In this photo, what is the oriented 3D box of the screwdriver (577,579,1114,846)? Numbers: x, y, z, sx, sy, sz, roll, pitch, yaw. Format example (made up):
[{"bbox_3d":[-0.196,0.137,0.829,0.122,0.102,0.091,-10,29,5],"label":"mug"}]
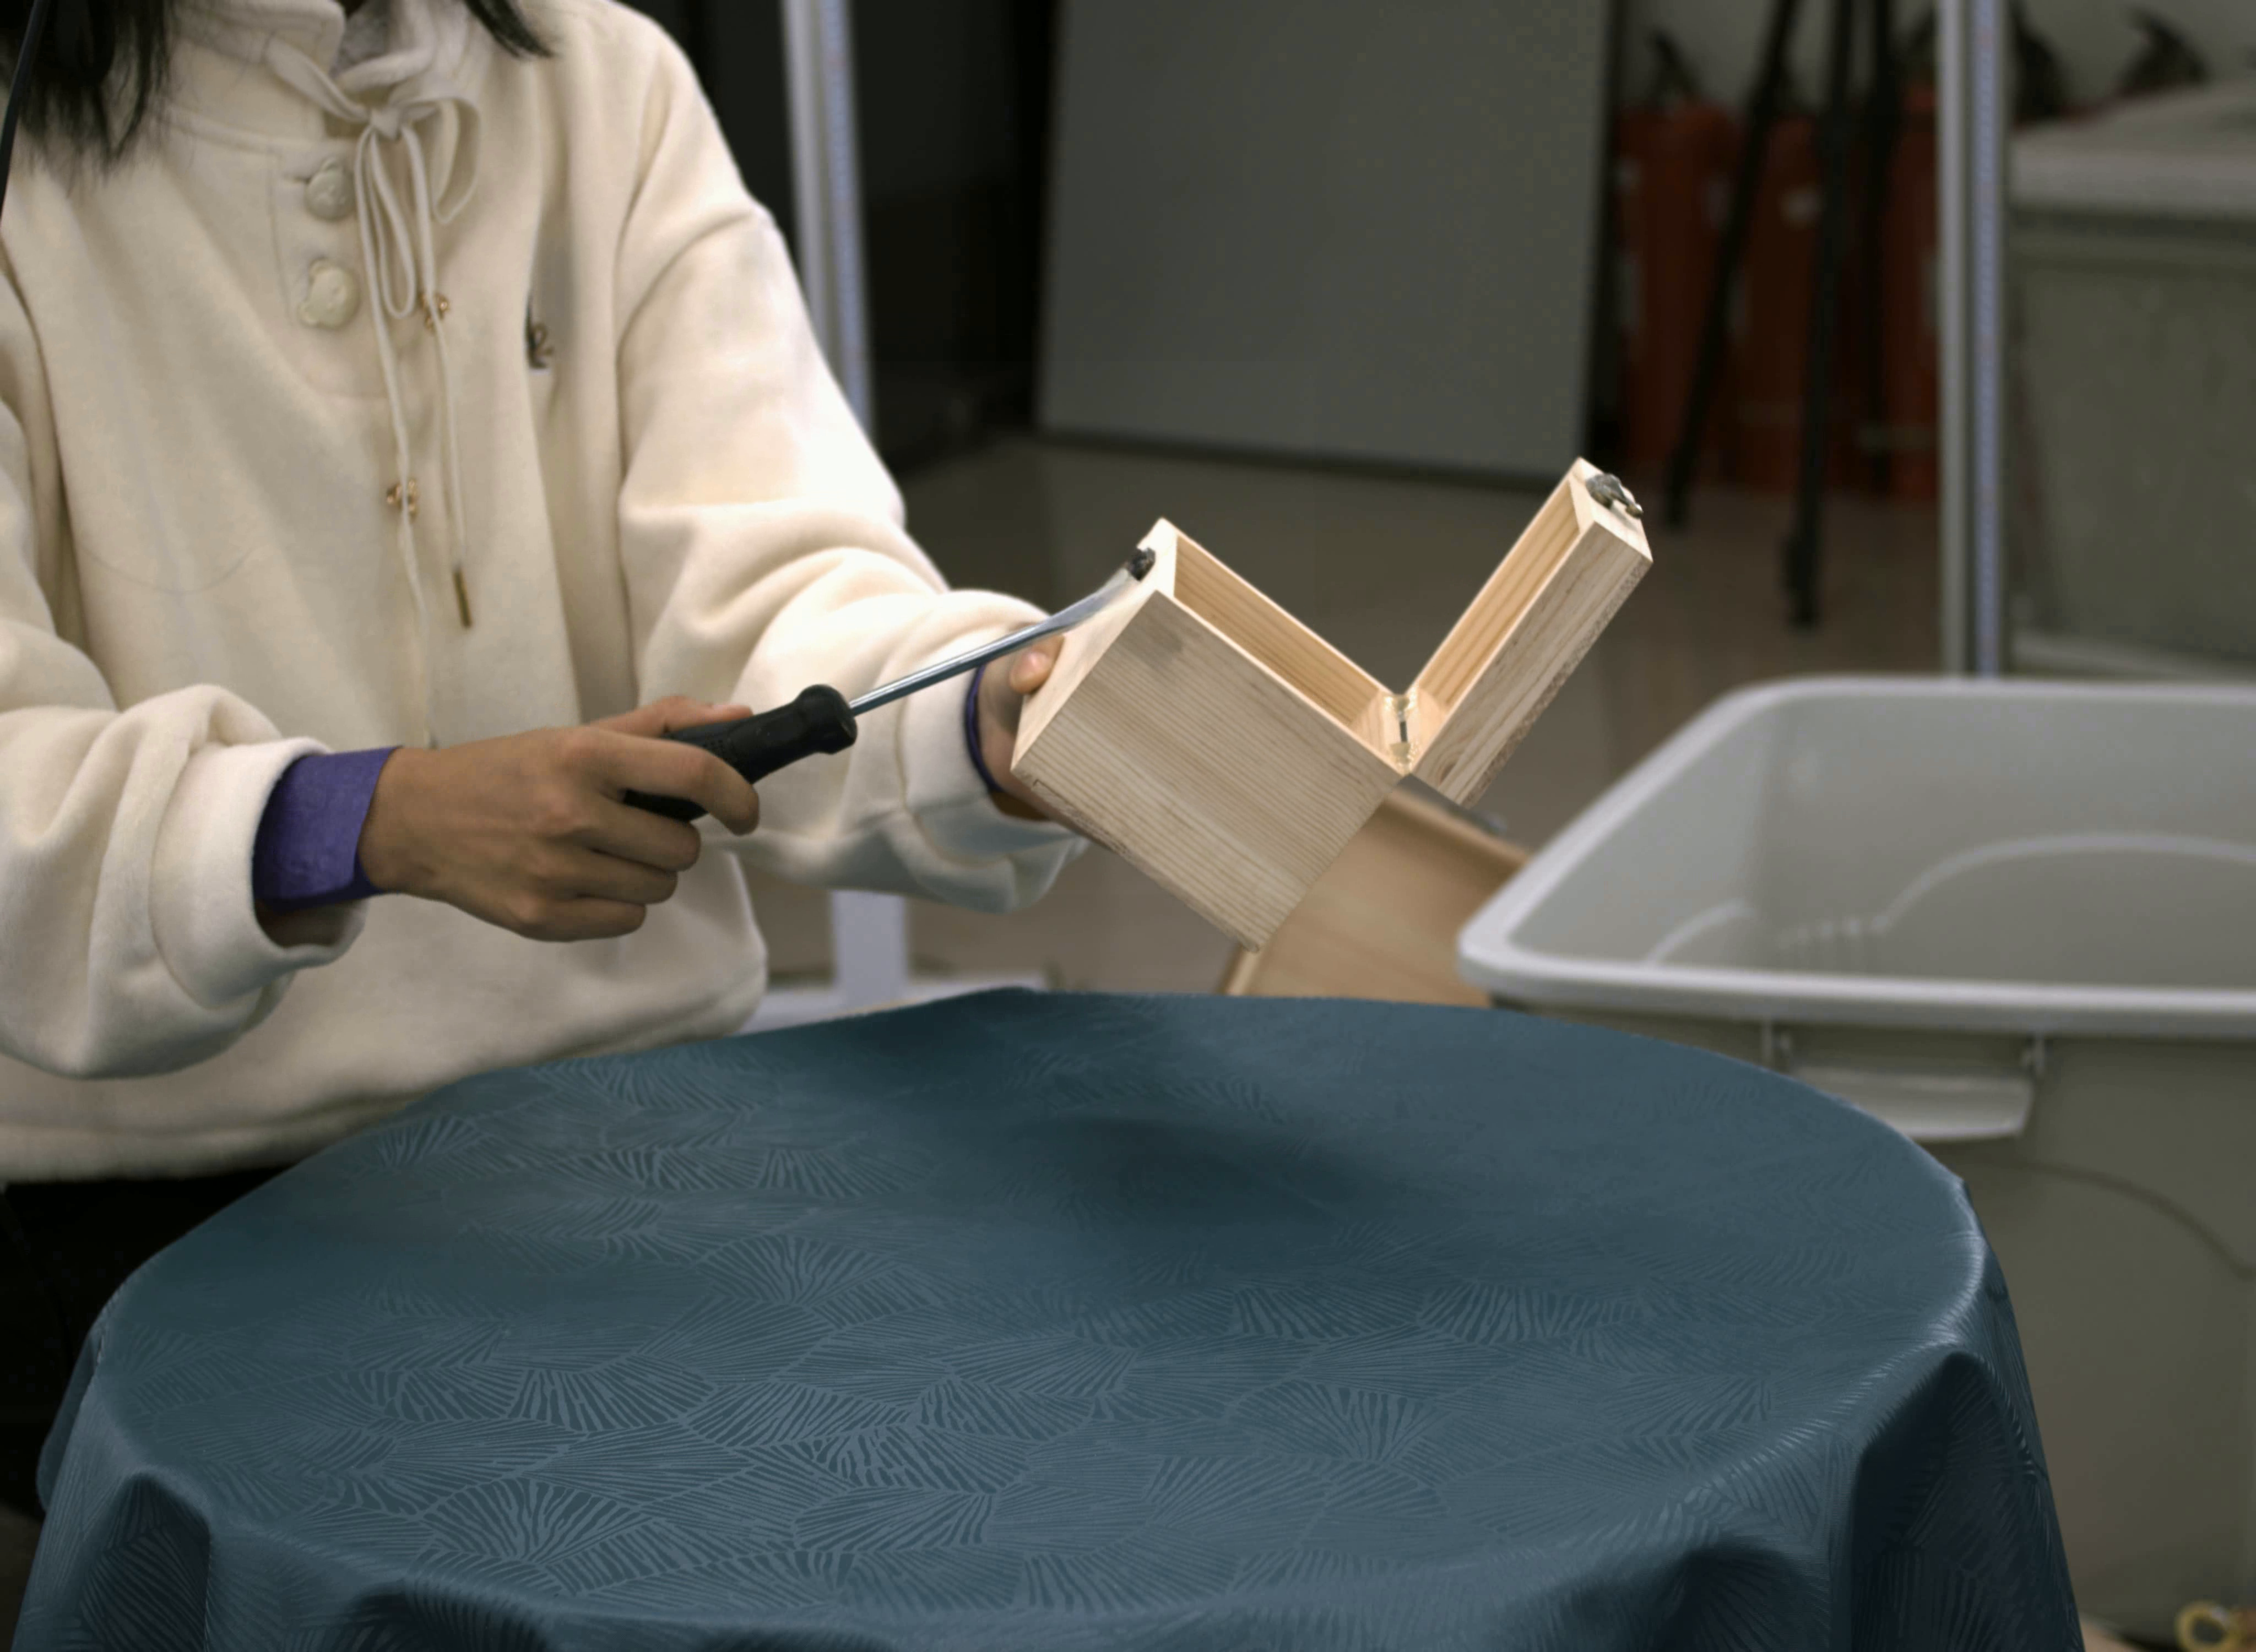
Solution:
[{"bbox_3d":[-0.091,-0.036,1.753,0.197,0.032,0.031,-20,9,17],"label":"screwdriver"}]

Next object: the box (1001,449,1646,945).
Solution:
[{"bbox_3d":[0.063,-0.068,1.747,0.133,0.185,0.102,38,14,-7],"label":"box"}]
